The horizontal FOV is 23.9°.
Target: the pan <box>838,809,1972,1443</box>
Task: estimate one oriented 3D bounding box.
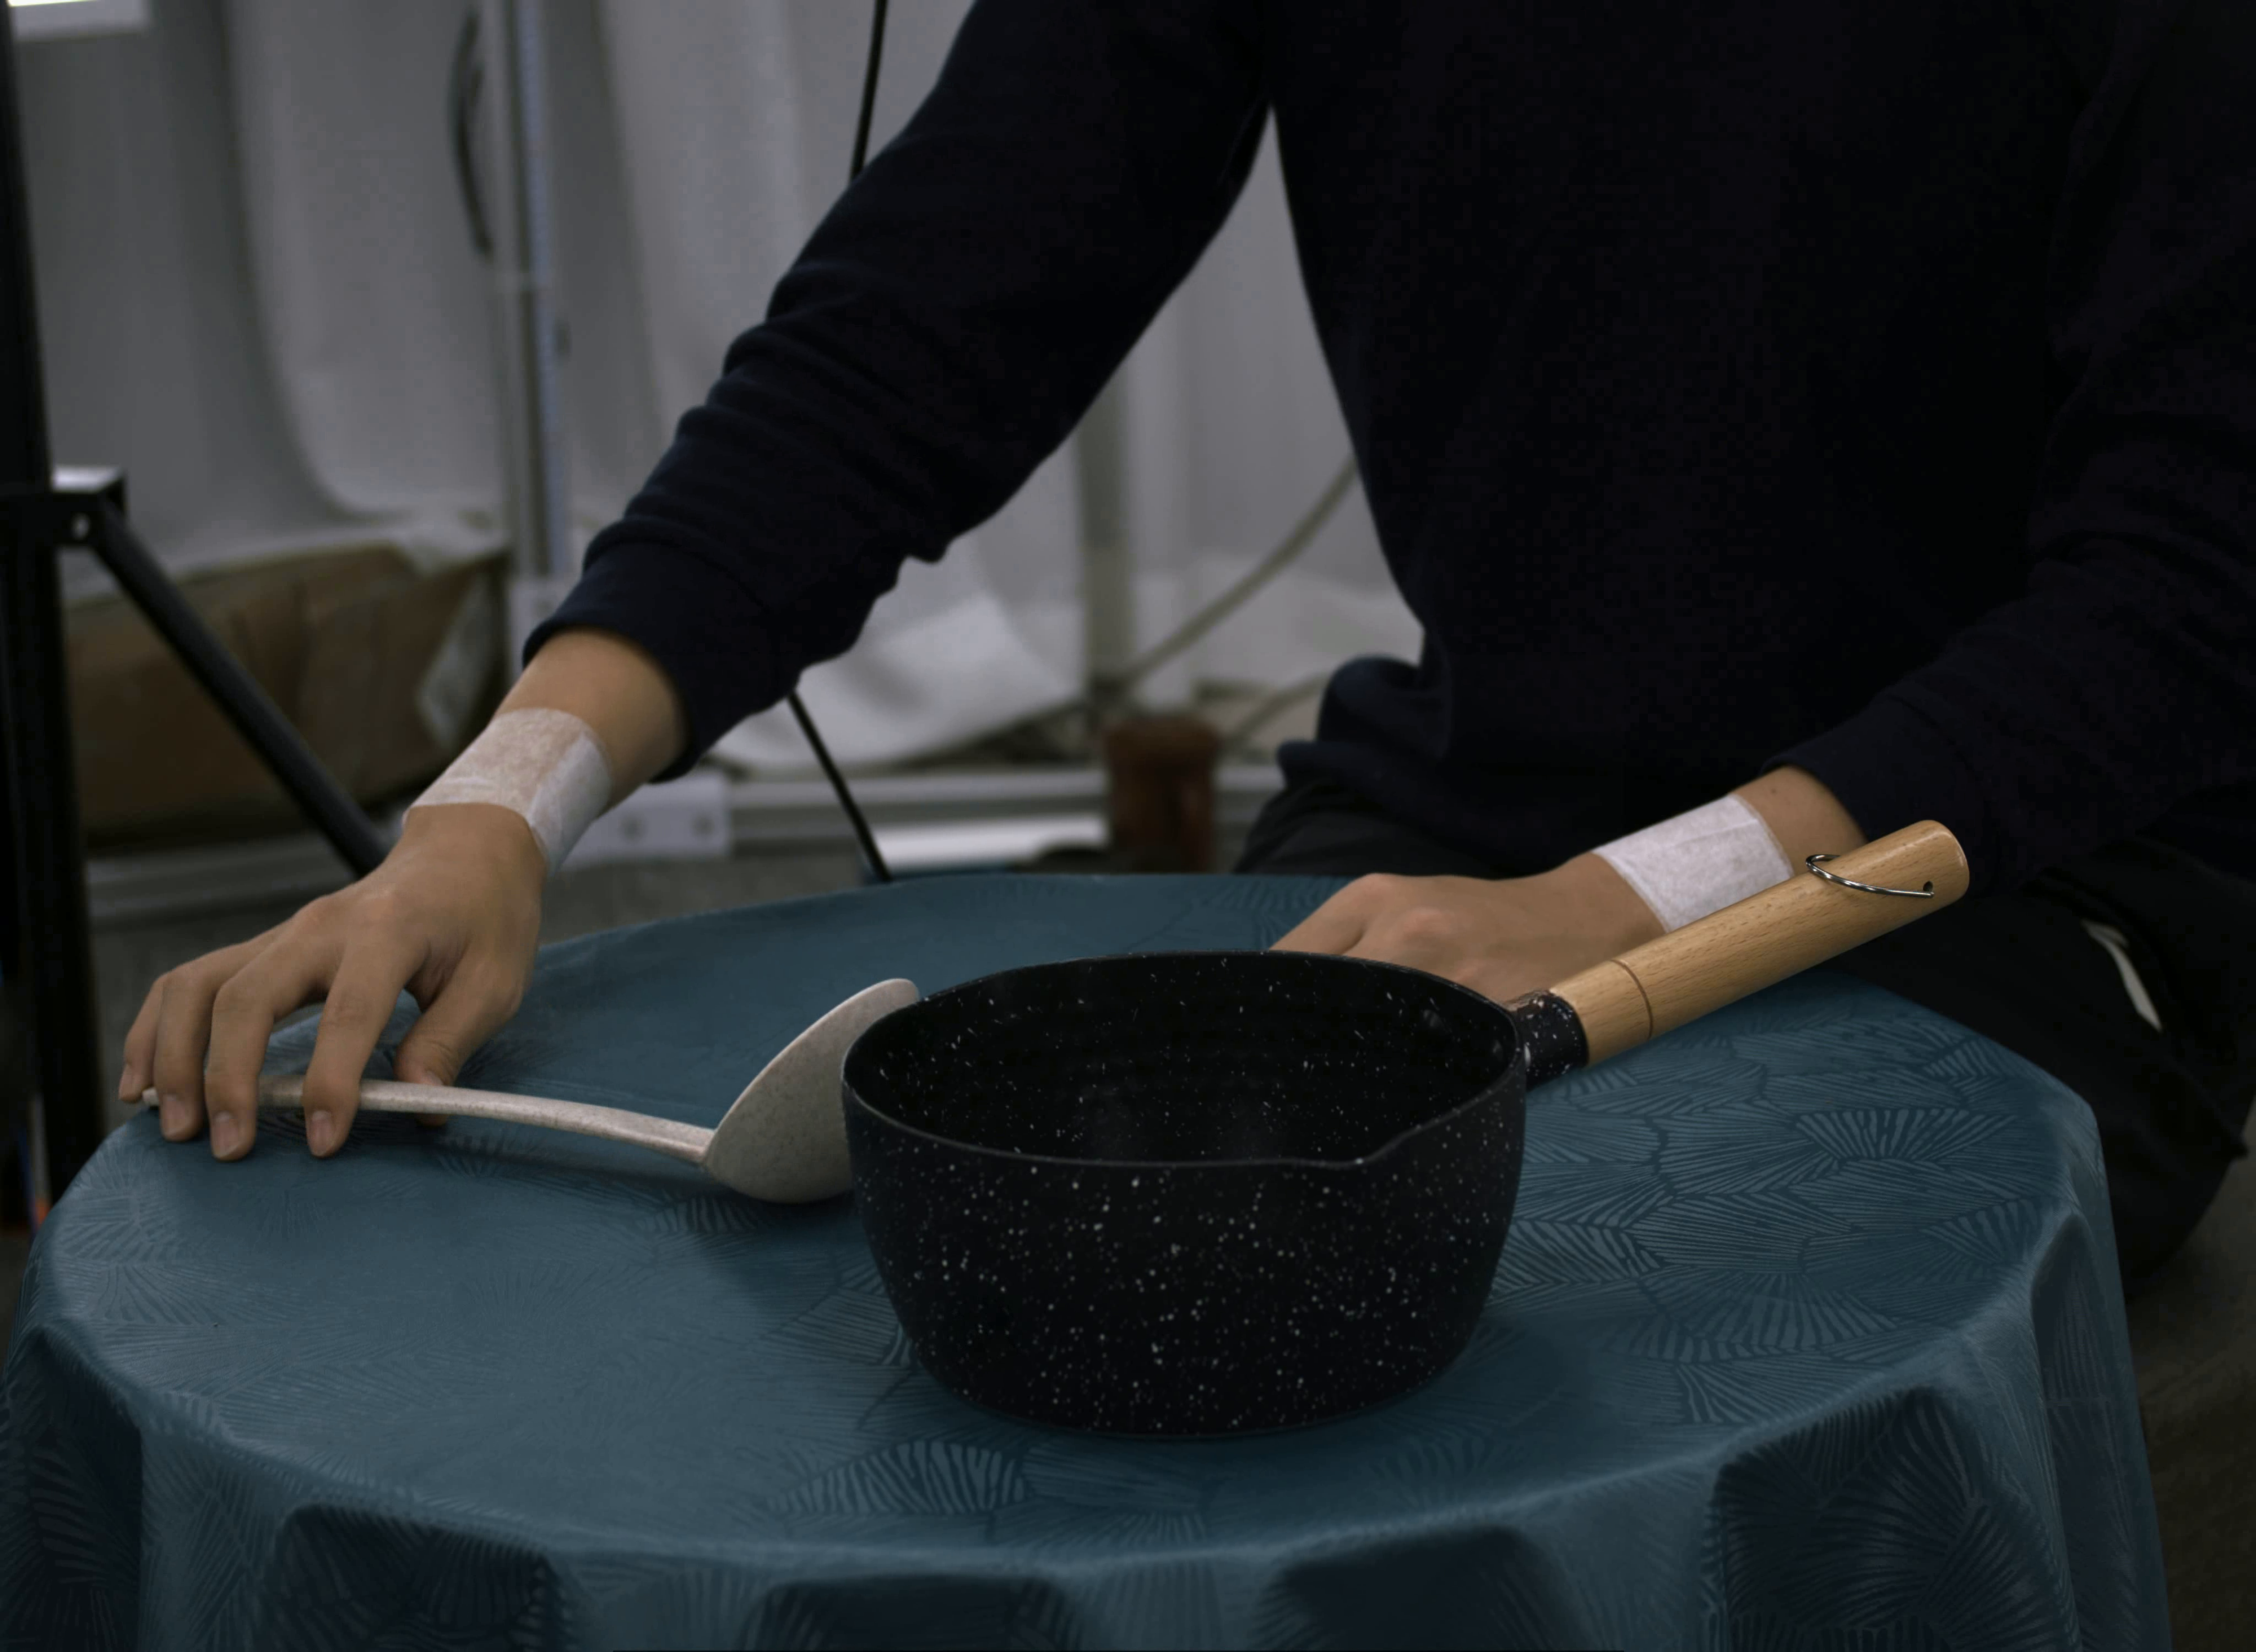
[{"bbox_3d":[0.086,0.076,1.457,0.336,0.108,0.212,-11,17,-24],"label":"pan"}]

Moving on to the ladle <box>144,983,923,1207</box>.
[{"bbox_3d":[-0.187,0.066,1.610,0.279,0.069,0.088,7,16,29],"label":"ladle"}]
